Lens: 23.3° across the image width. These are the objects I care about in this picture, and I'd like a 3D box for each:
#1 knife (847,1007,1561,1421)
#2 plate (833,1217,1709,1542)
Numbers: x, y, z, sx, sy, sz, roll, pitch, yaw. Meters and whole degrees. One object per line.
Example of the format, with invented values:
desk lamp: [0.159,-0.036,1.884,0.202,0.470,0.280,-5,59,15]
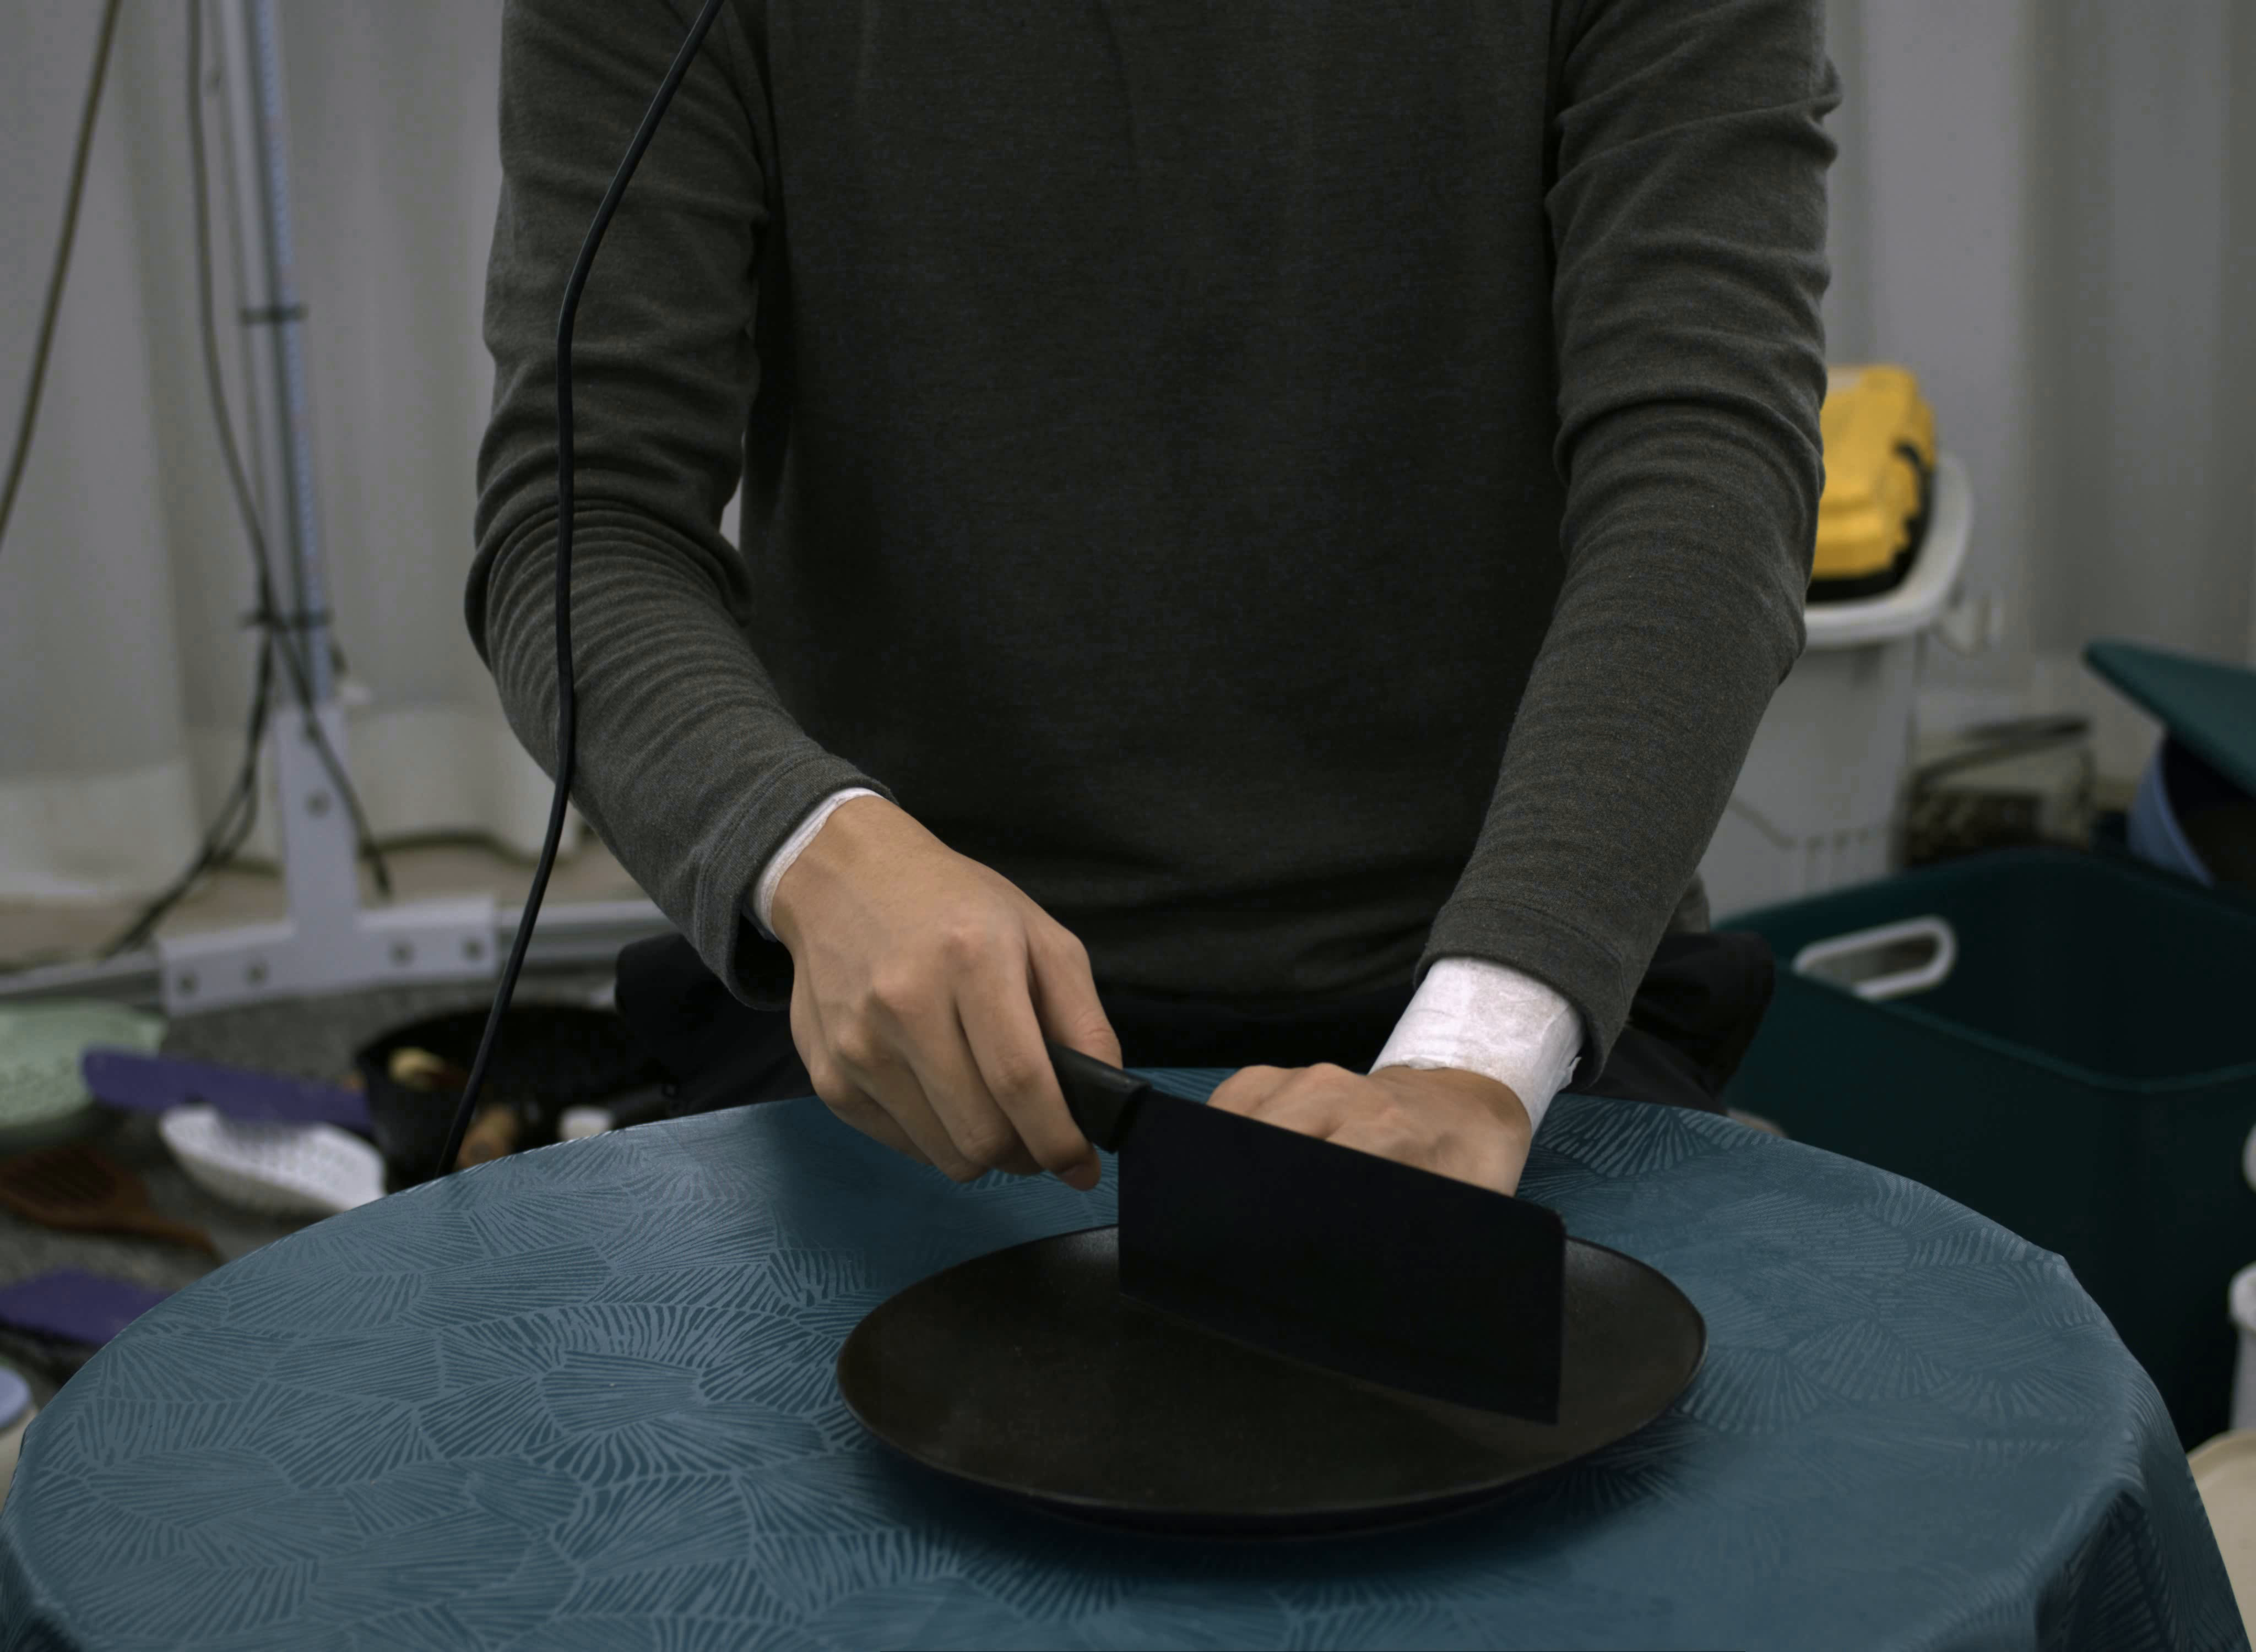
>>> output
knife: [0.017,0.105,1.565,0.021,0.080,0.304,-7,18,-40]
plate: [0.040,0.154,1.517,0.243,0.023,0.246,-3,15,0]
